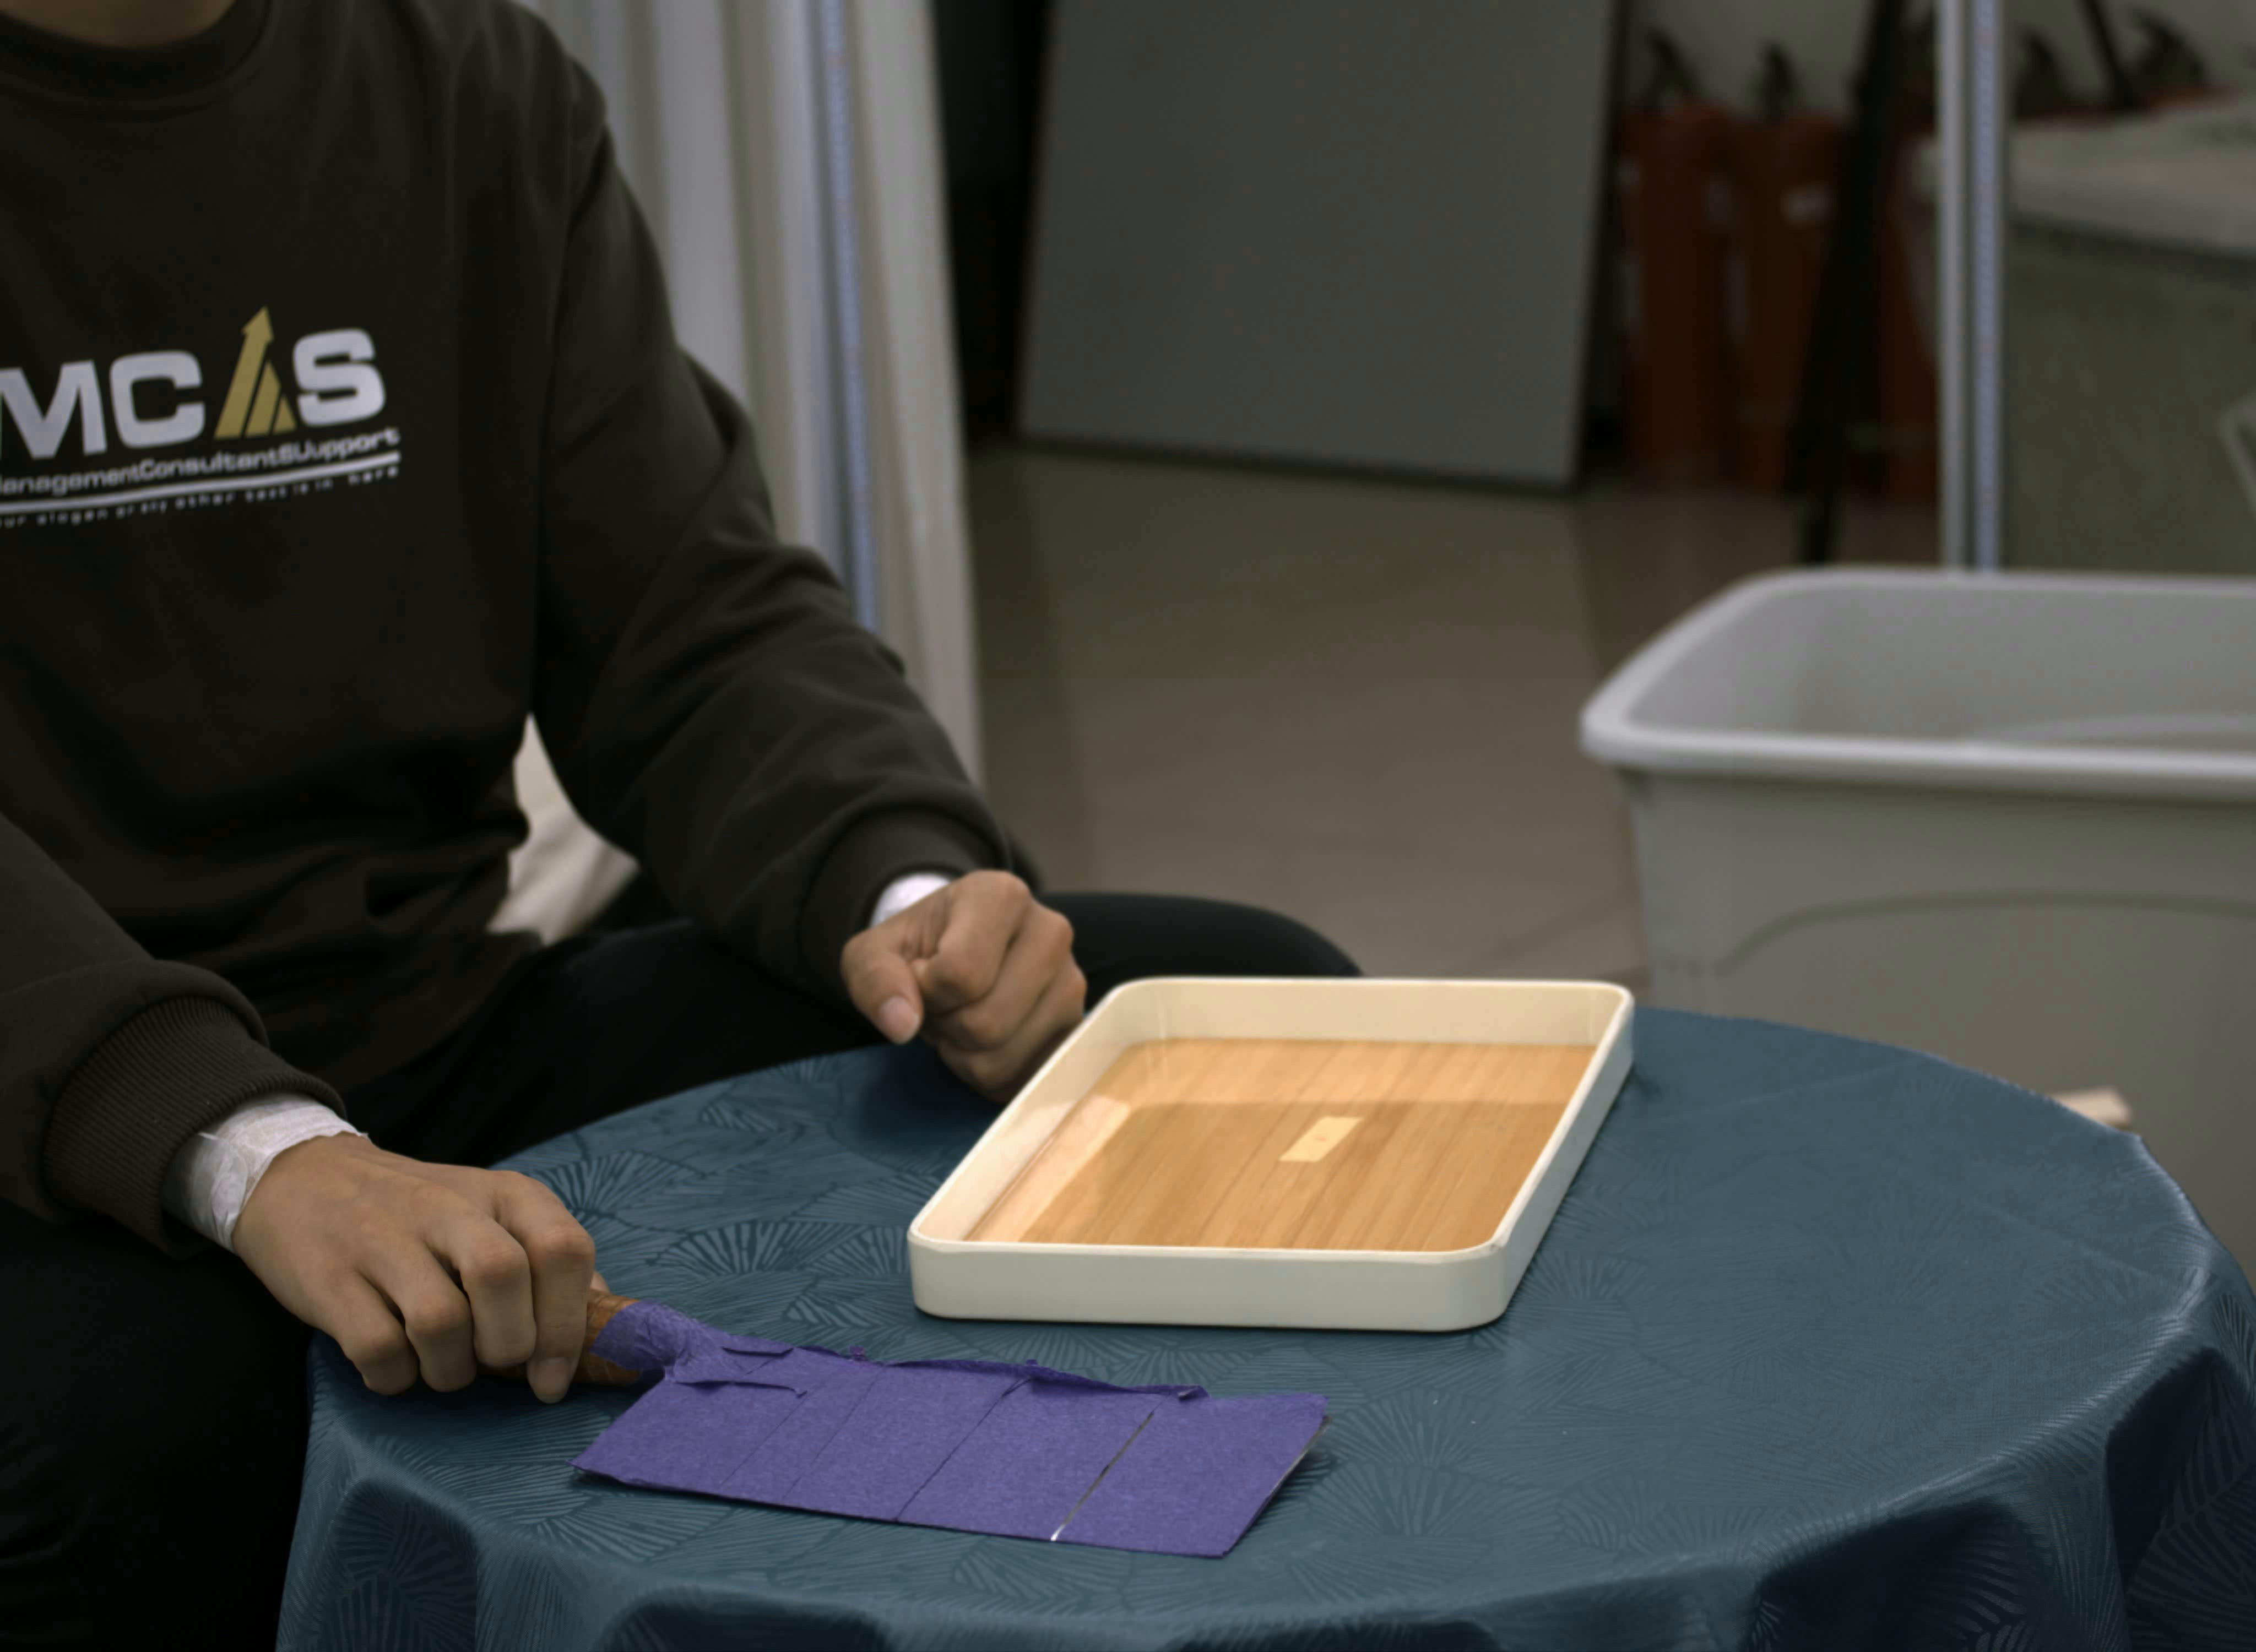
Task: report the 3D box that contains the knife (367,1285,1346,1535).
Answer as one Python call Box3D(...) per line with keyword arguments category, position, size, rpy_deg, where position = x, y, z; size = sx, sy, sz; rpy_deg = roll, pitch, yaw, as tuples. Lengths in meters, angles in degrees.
Box3D(category="knife", position=(-0.096, 0.167, 1.555), size=(0.316, 0.032, 0.102), rpy_deg=(1, 20, 26))

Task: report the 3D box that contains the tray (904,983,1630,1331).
Box3D(category="tray", position=(0.053, 0.105, 1.771), size=(0.191, 0.028, 0.298), rpy_deg=(-1, 14, 15))
